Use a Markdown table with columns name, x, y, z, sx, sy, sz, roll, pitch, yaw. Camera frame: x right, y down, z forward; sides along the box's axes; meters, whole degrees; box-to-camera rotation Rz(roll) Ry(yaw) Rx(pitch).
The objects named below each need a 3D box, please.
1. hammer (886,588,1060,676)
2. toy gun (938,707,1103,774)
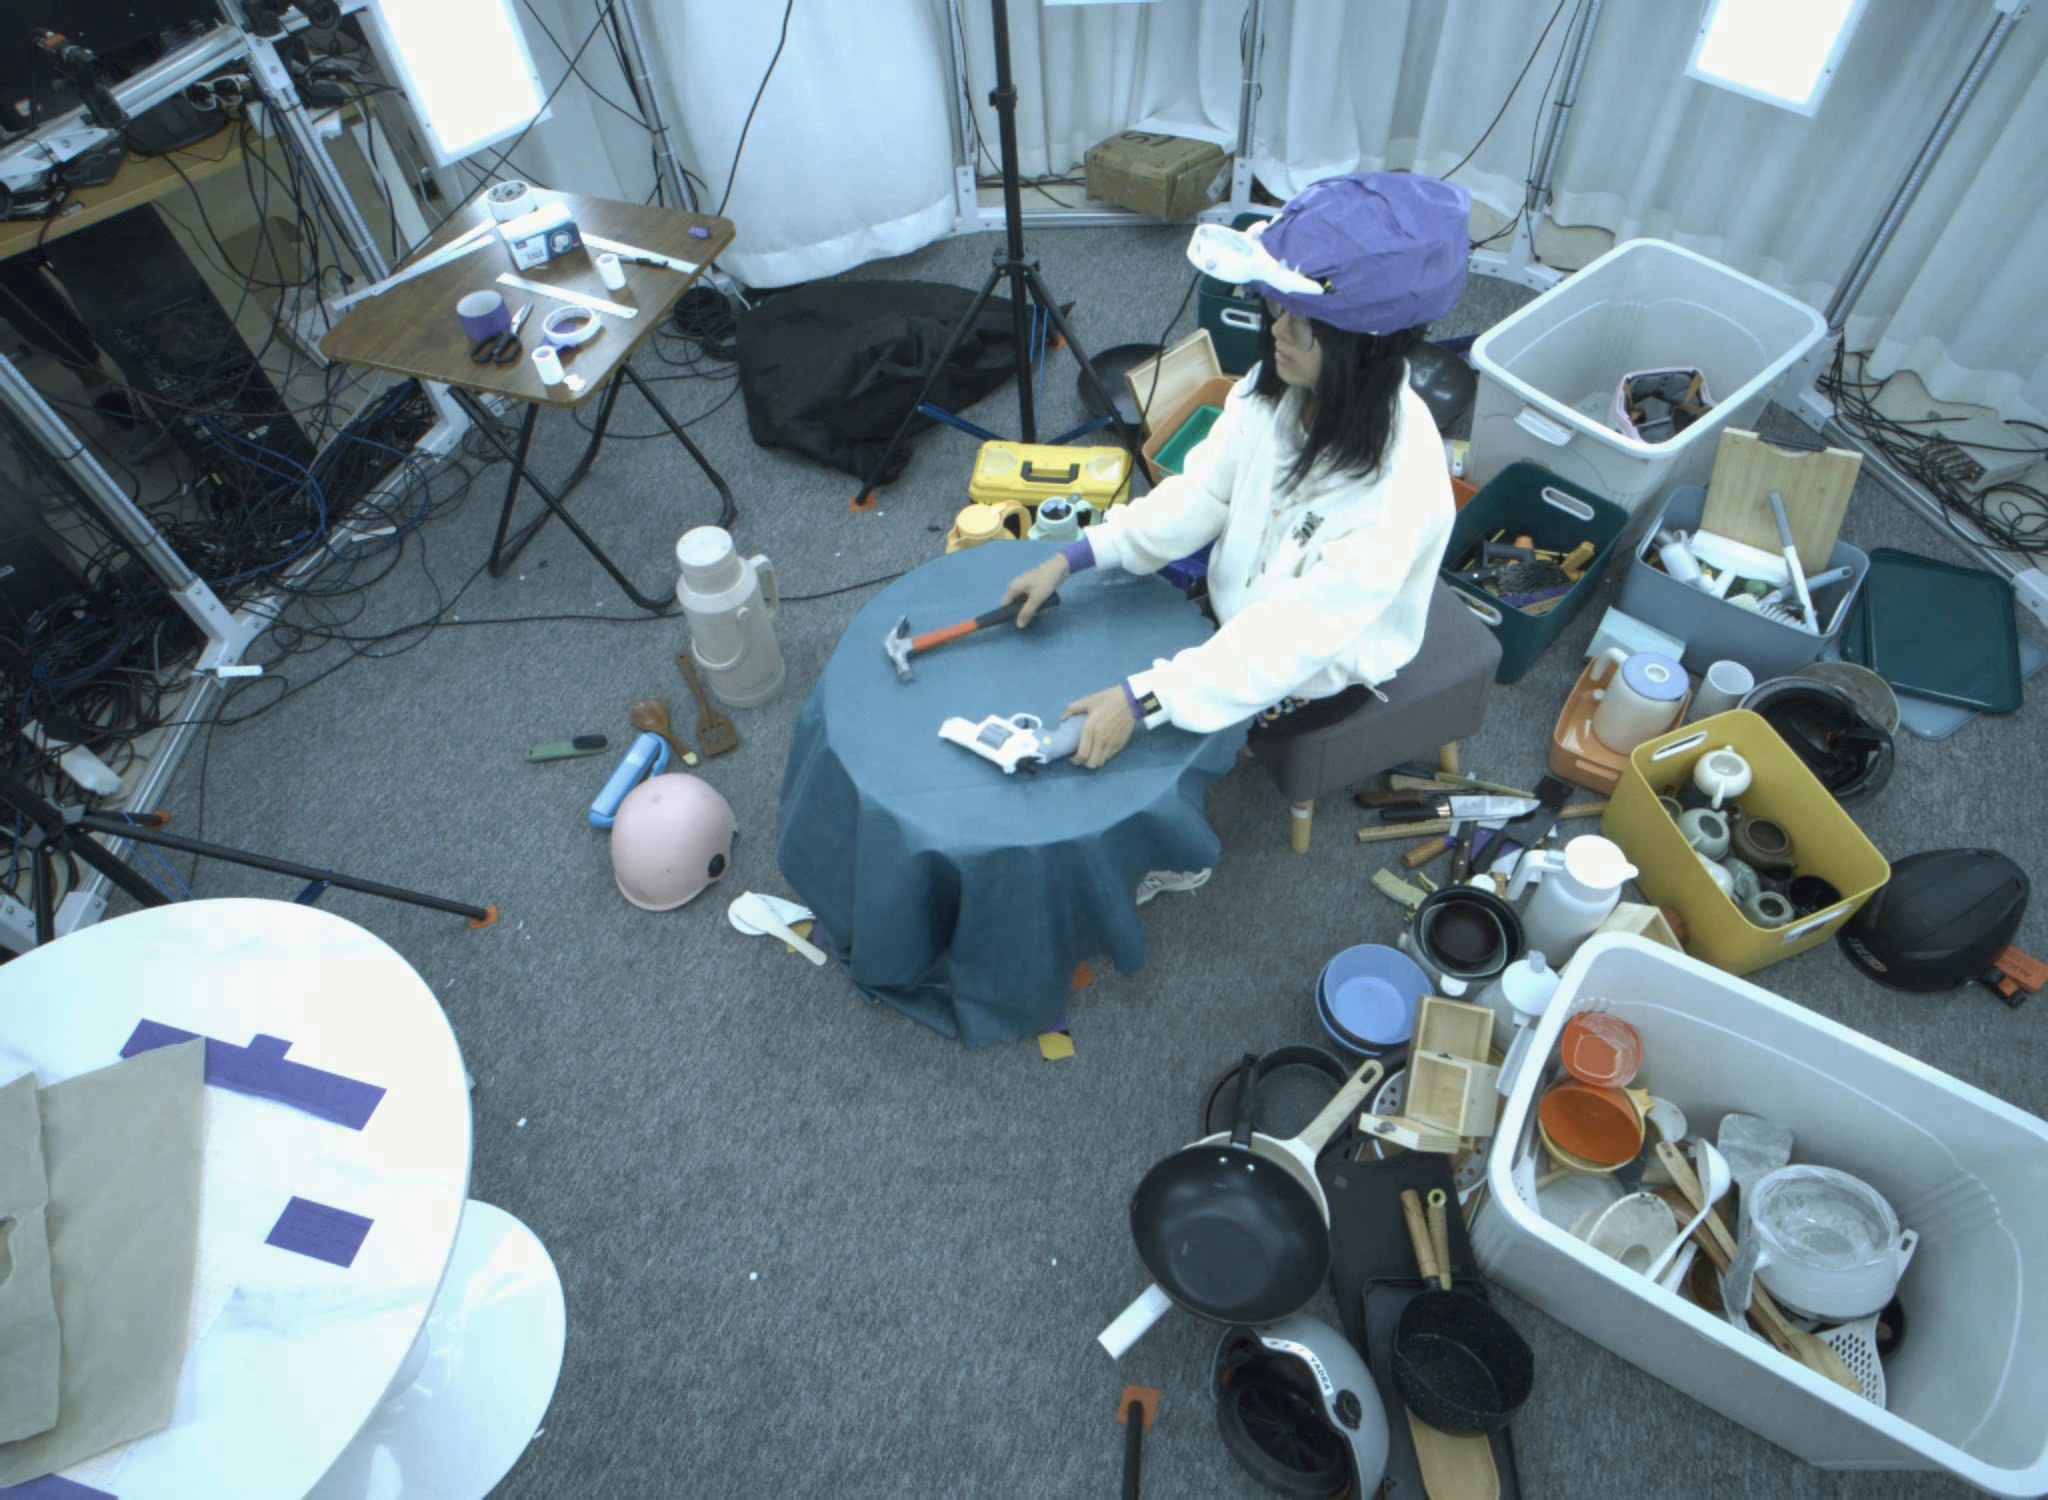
| name | x | y | z | sx | sy | sz | roll | pitch | yaw |
| --- | --- | --- | --- | --- | --- | --- | --- | --- | --- |
| hammer | -0.079 | -0.196 | 1.896 | 0.278 | 0.027 | 0.108 | -19 | 45 | -5 |
| toy gun | -0.005 | -0.029 | 1.782 | 0.205 | 0.039 | 0.142 | 24 | 59 | 24 |
